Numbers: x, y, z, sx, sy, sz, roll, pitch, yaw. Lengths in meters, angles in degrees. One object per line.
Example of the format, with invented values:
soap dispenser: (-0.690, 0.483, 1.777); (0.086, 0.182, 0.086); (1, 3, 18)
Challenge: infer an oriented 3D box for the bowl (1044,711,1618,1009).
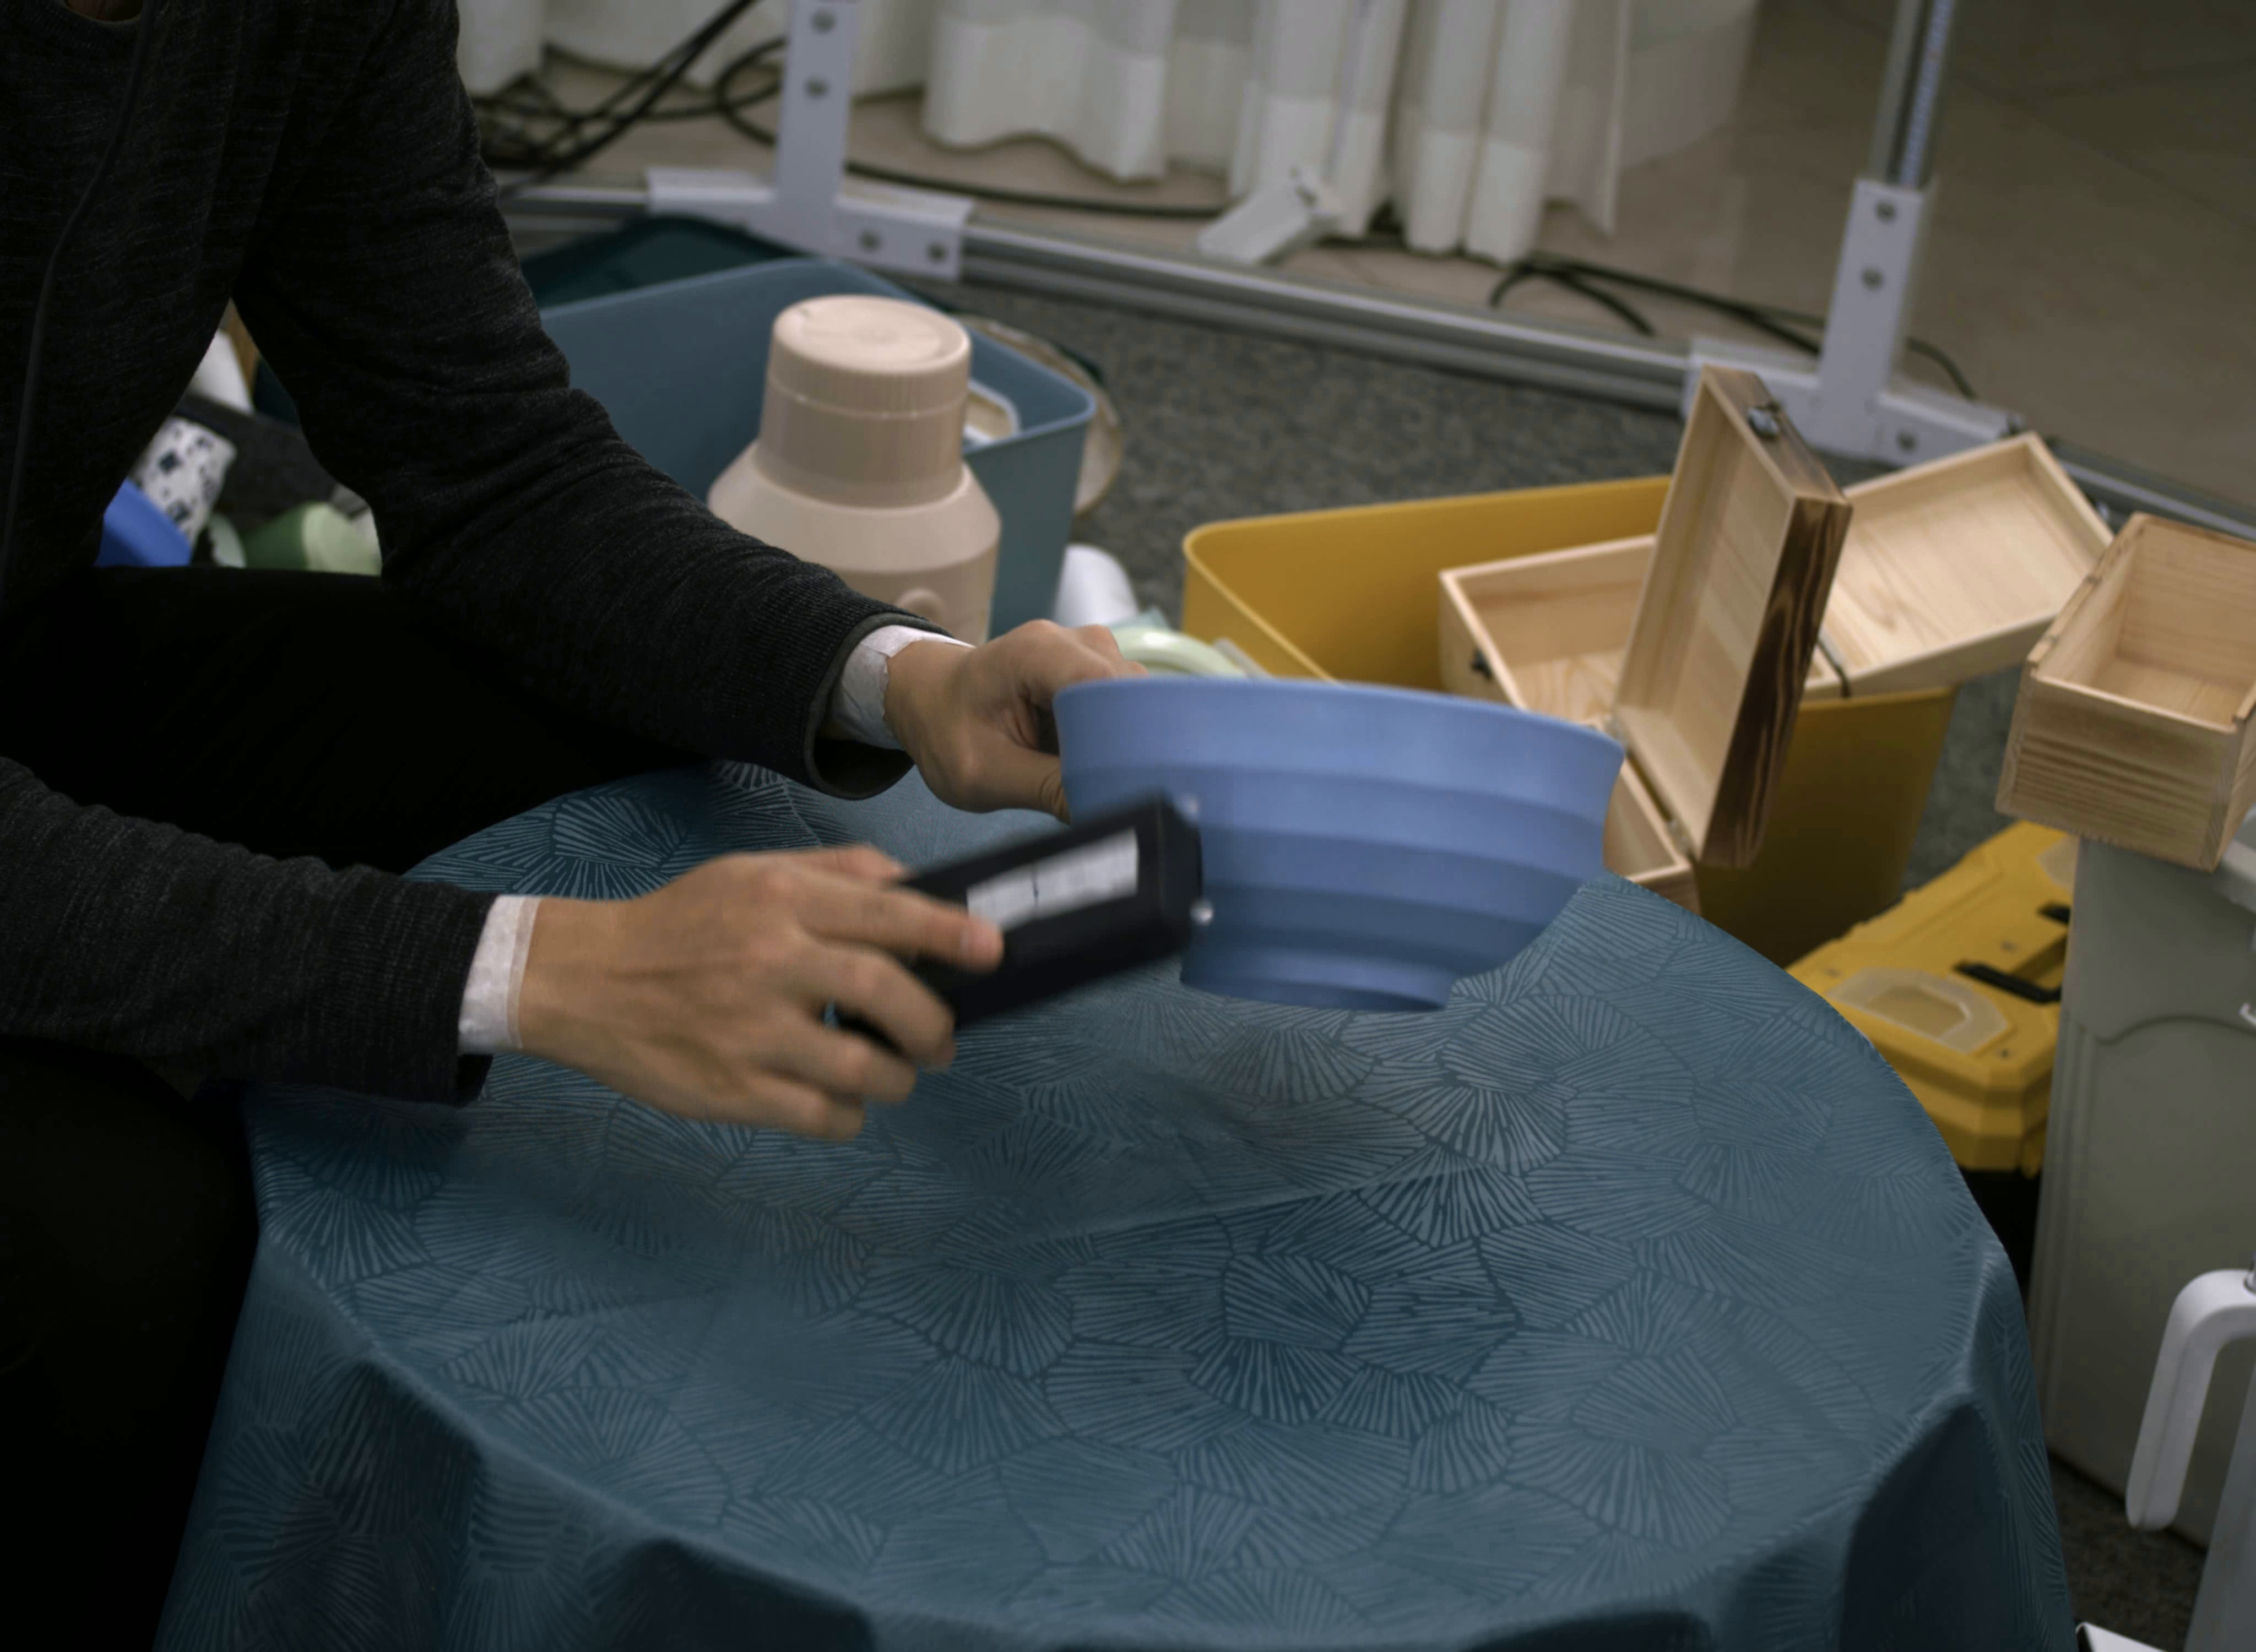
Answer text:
bowl: (0.067, 0.013, 1.816); (0.196, 0.095, 0.196); (2, -1, 0)

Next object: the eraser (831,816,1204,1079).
eraser: (-0.034, 0.039, 1.698); (0.125, 0.030, 0.054); (-18, 49, 22)
